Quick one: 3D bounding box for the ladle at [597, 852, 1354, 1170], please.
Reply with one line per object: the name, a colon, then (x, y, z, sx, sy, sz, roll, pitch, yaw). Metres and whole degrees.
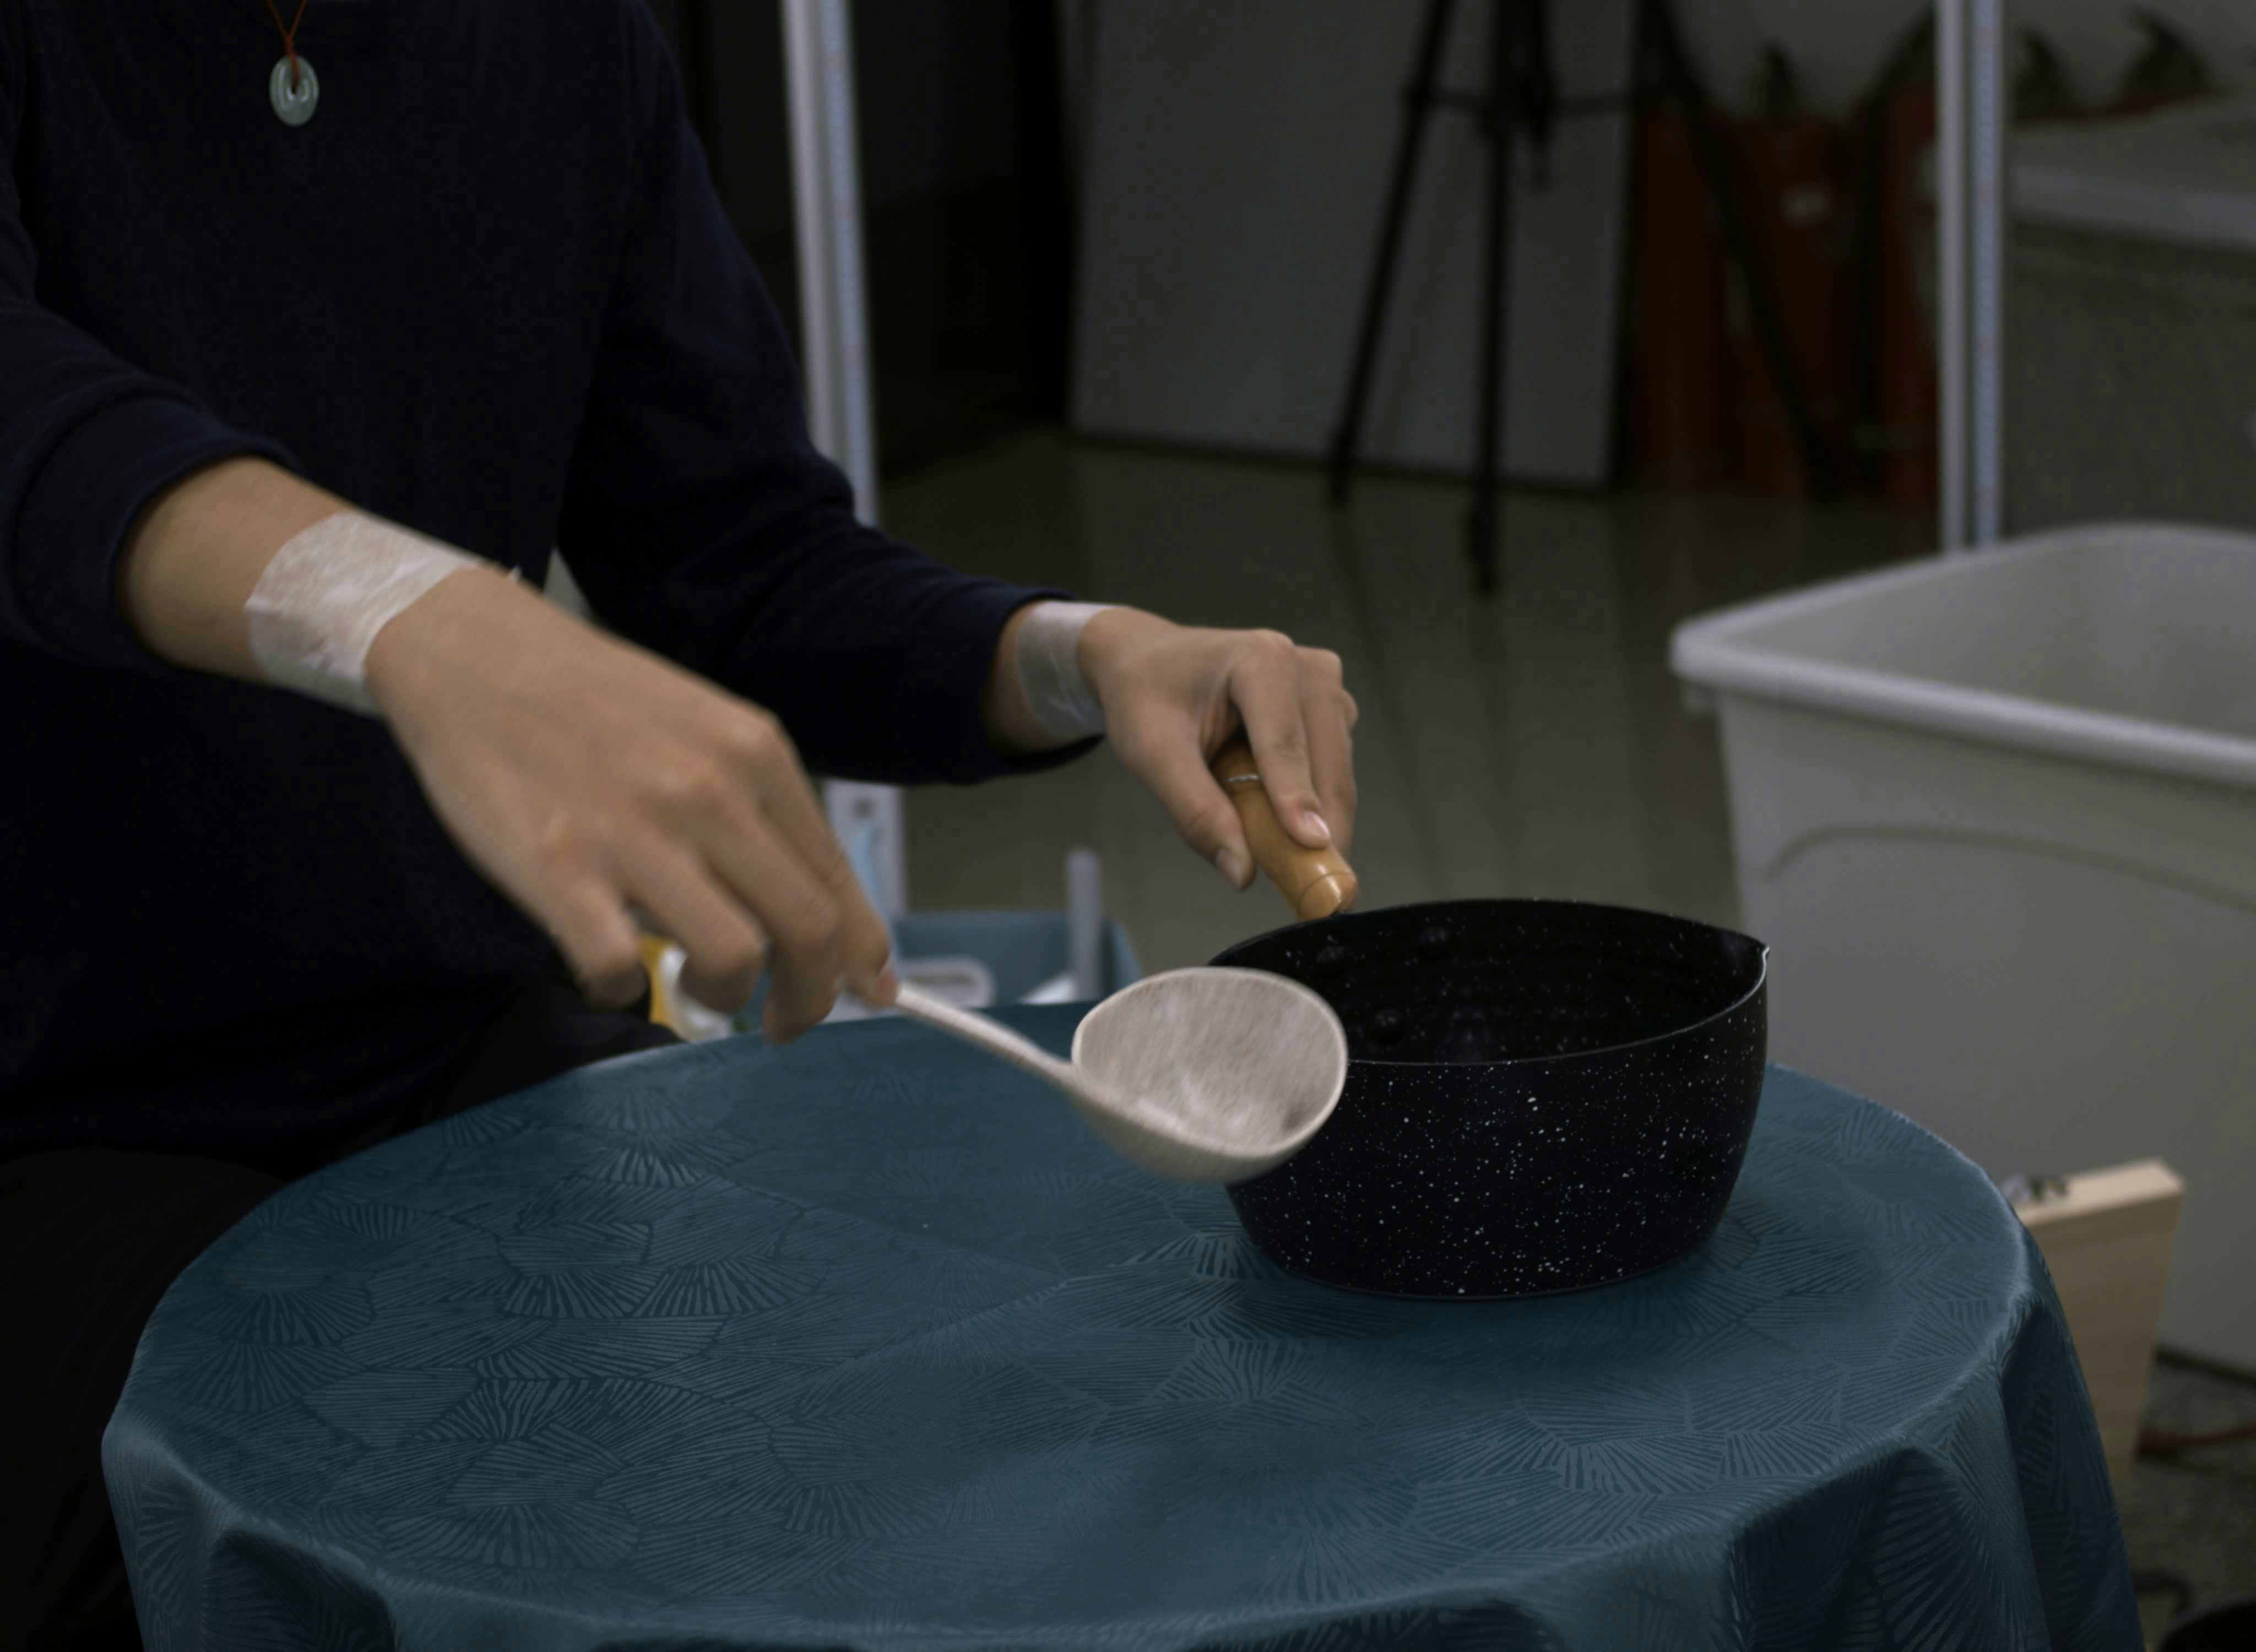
ladle: (-0.038, 0.030, 1.498, 0.270, 0.070, 0.090, 30, 9, -47)

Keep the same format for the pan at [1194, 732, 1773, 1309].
pan: (0.086, 0.058, 1.772, 0.203, 0.109, 0.346, -9, 16, -16)
